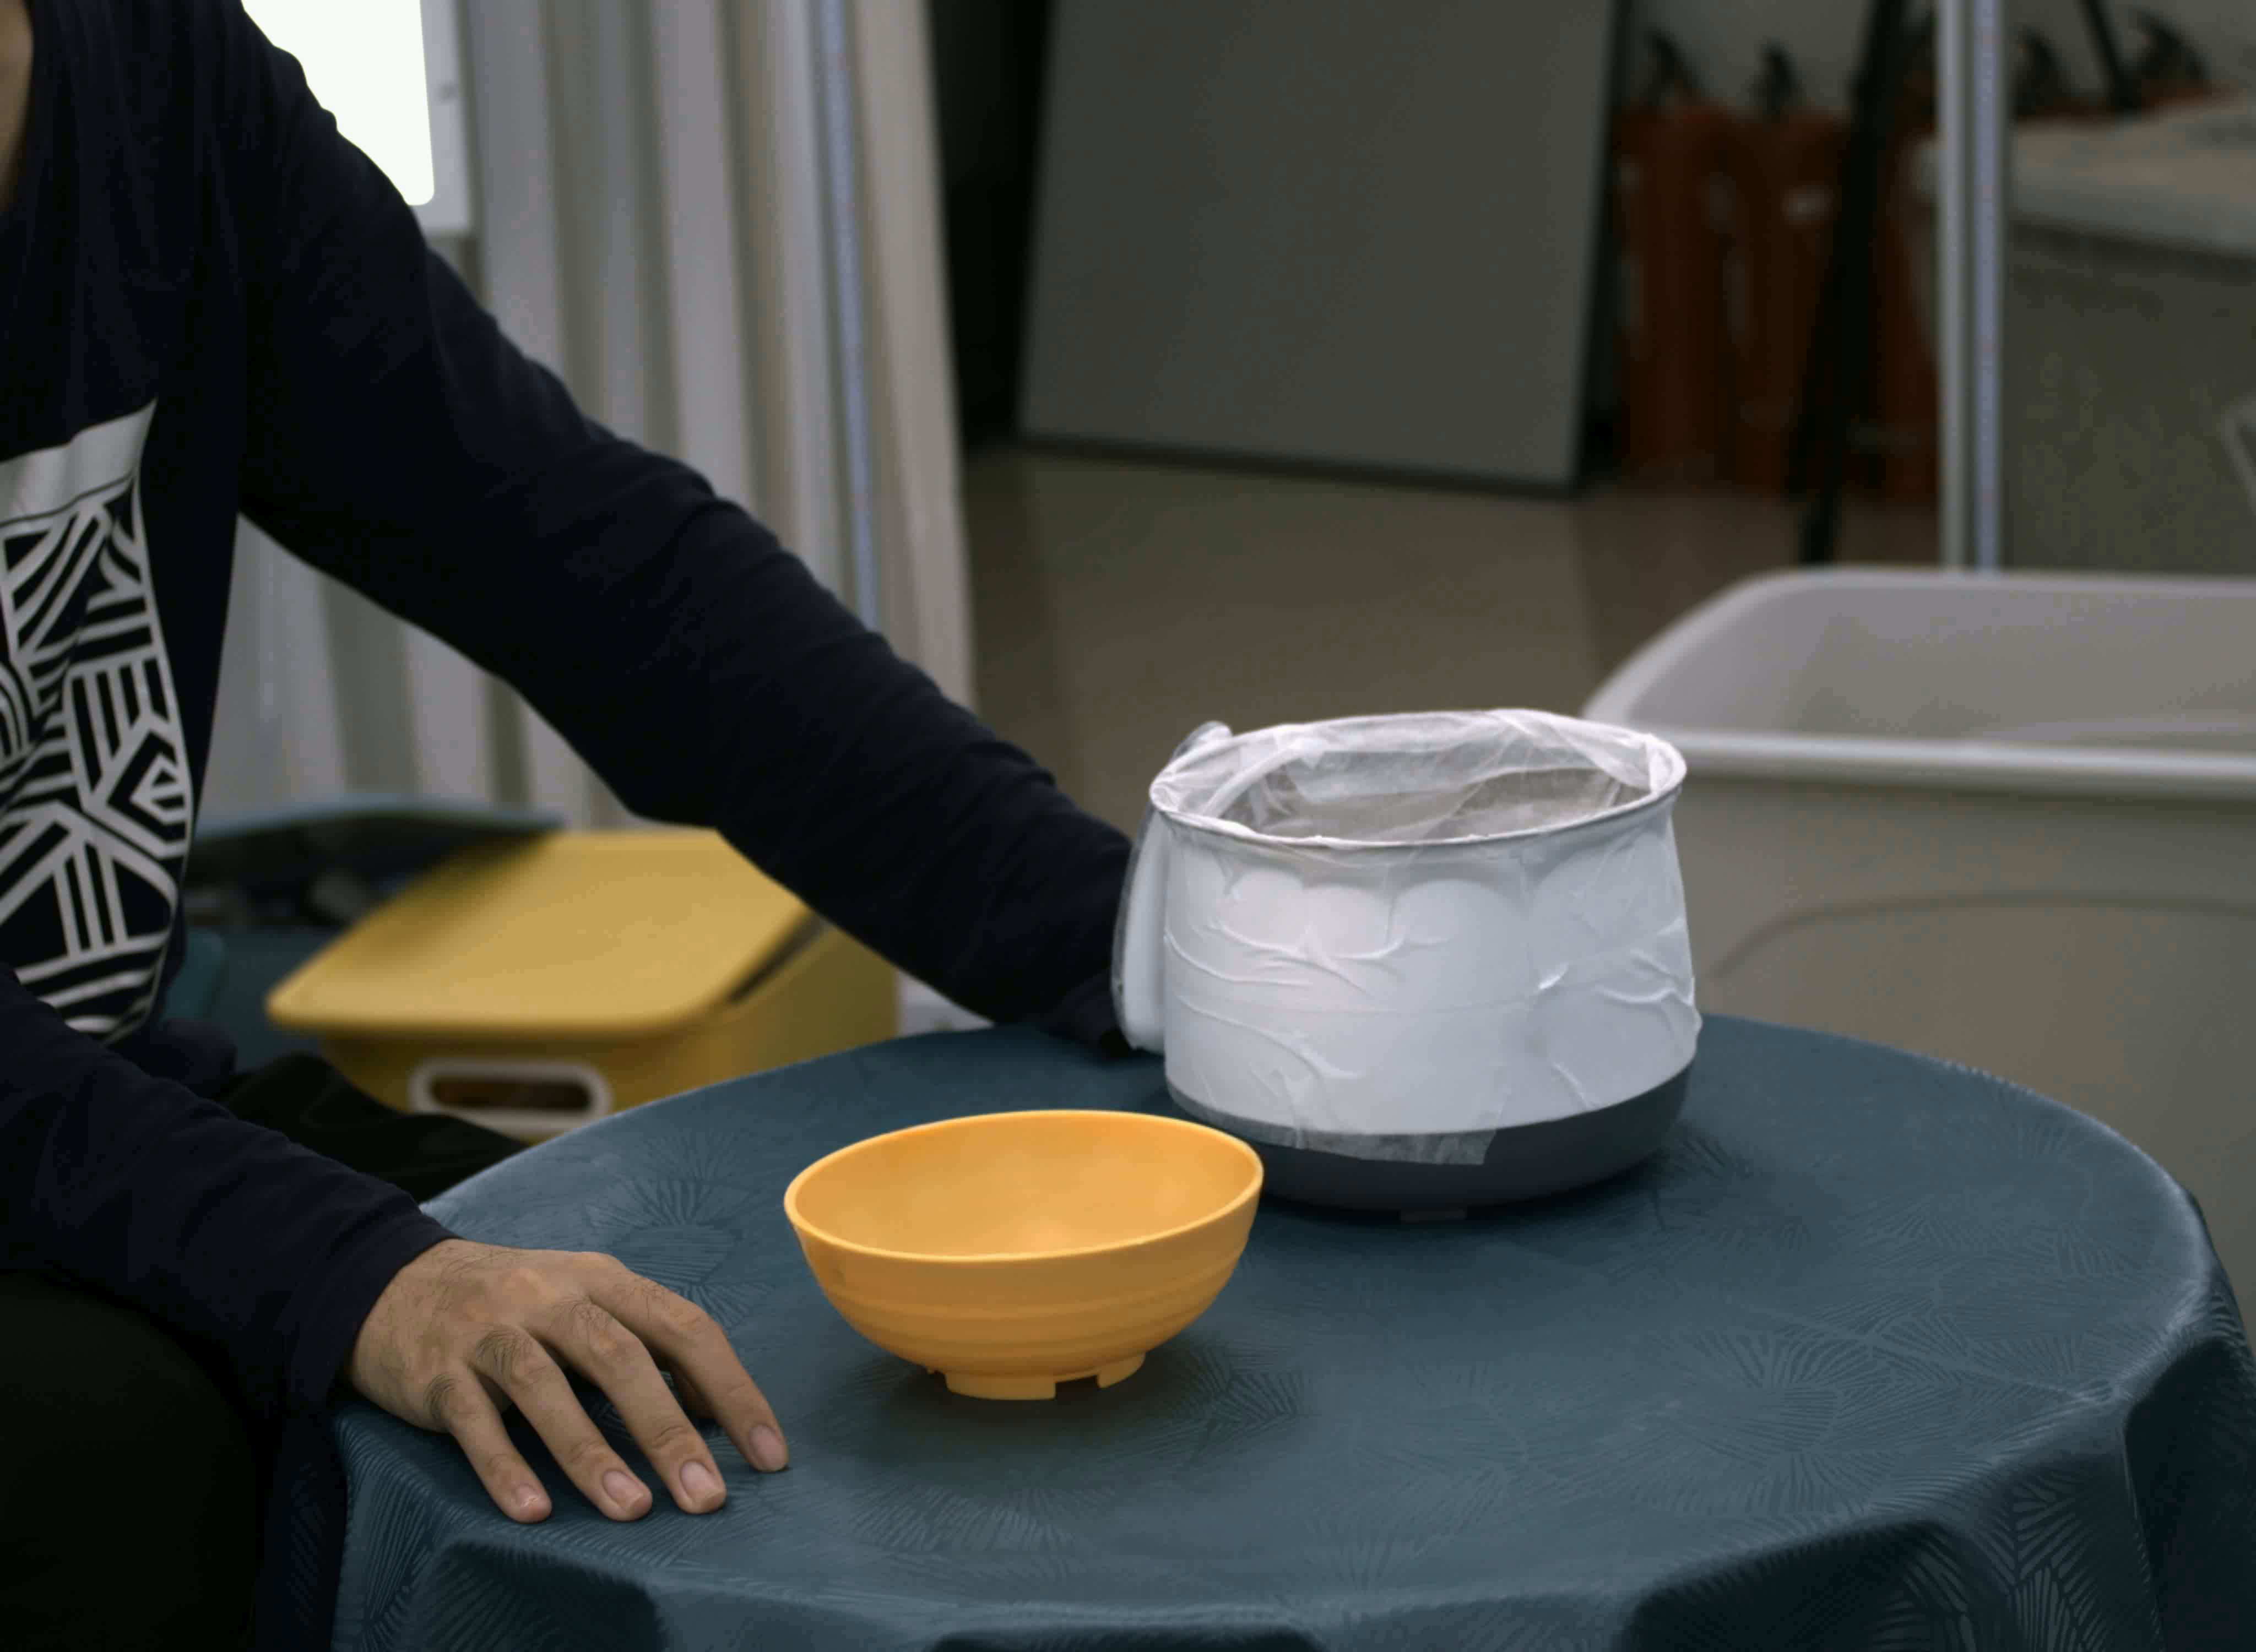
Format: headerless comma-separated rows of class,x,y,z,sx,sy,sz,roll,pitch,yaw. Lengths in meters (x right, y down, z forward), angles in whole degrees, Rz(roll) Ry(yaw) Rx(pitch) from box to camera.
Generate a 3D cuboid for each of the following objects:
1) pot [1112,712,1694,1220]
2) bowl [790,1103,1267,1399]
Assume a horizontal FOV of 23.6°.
pot,0.079,0.040,1.792,0.175,0.138,0.236,-12,16,-41
bowl,-0.027,0.132,1.607,0.143,0.061,0.145,-6,13,0
